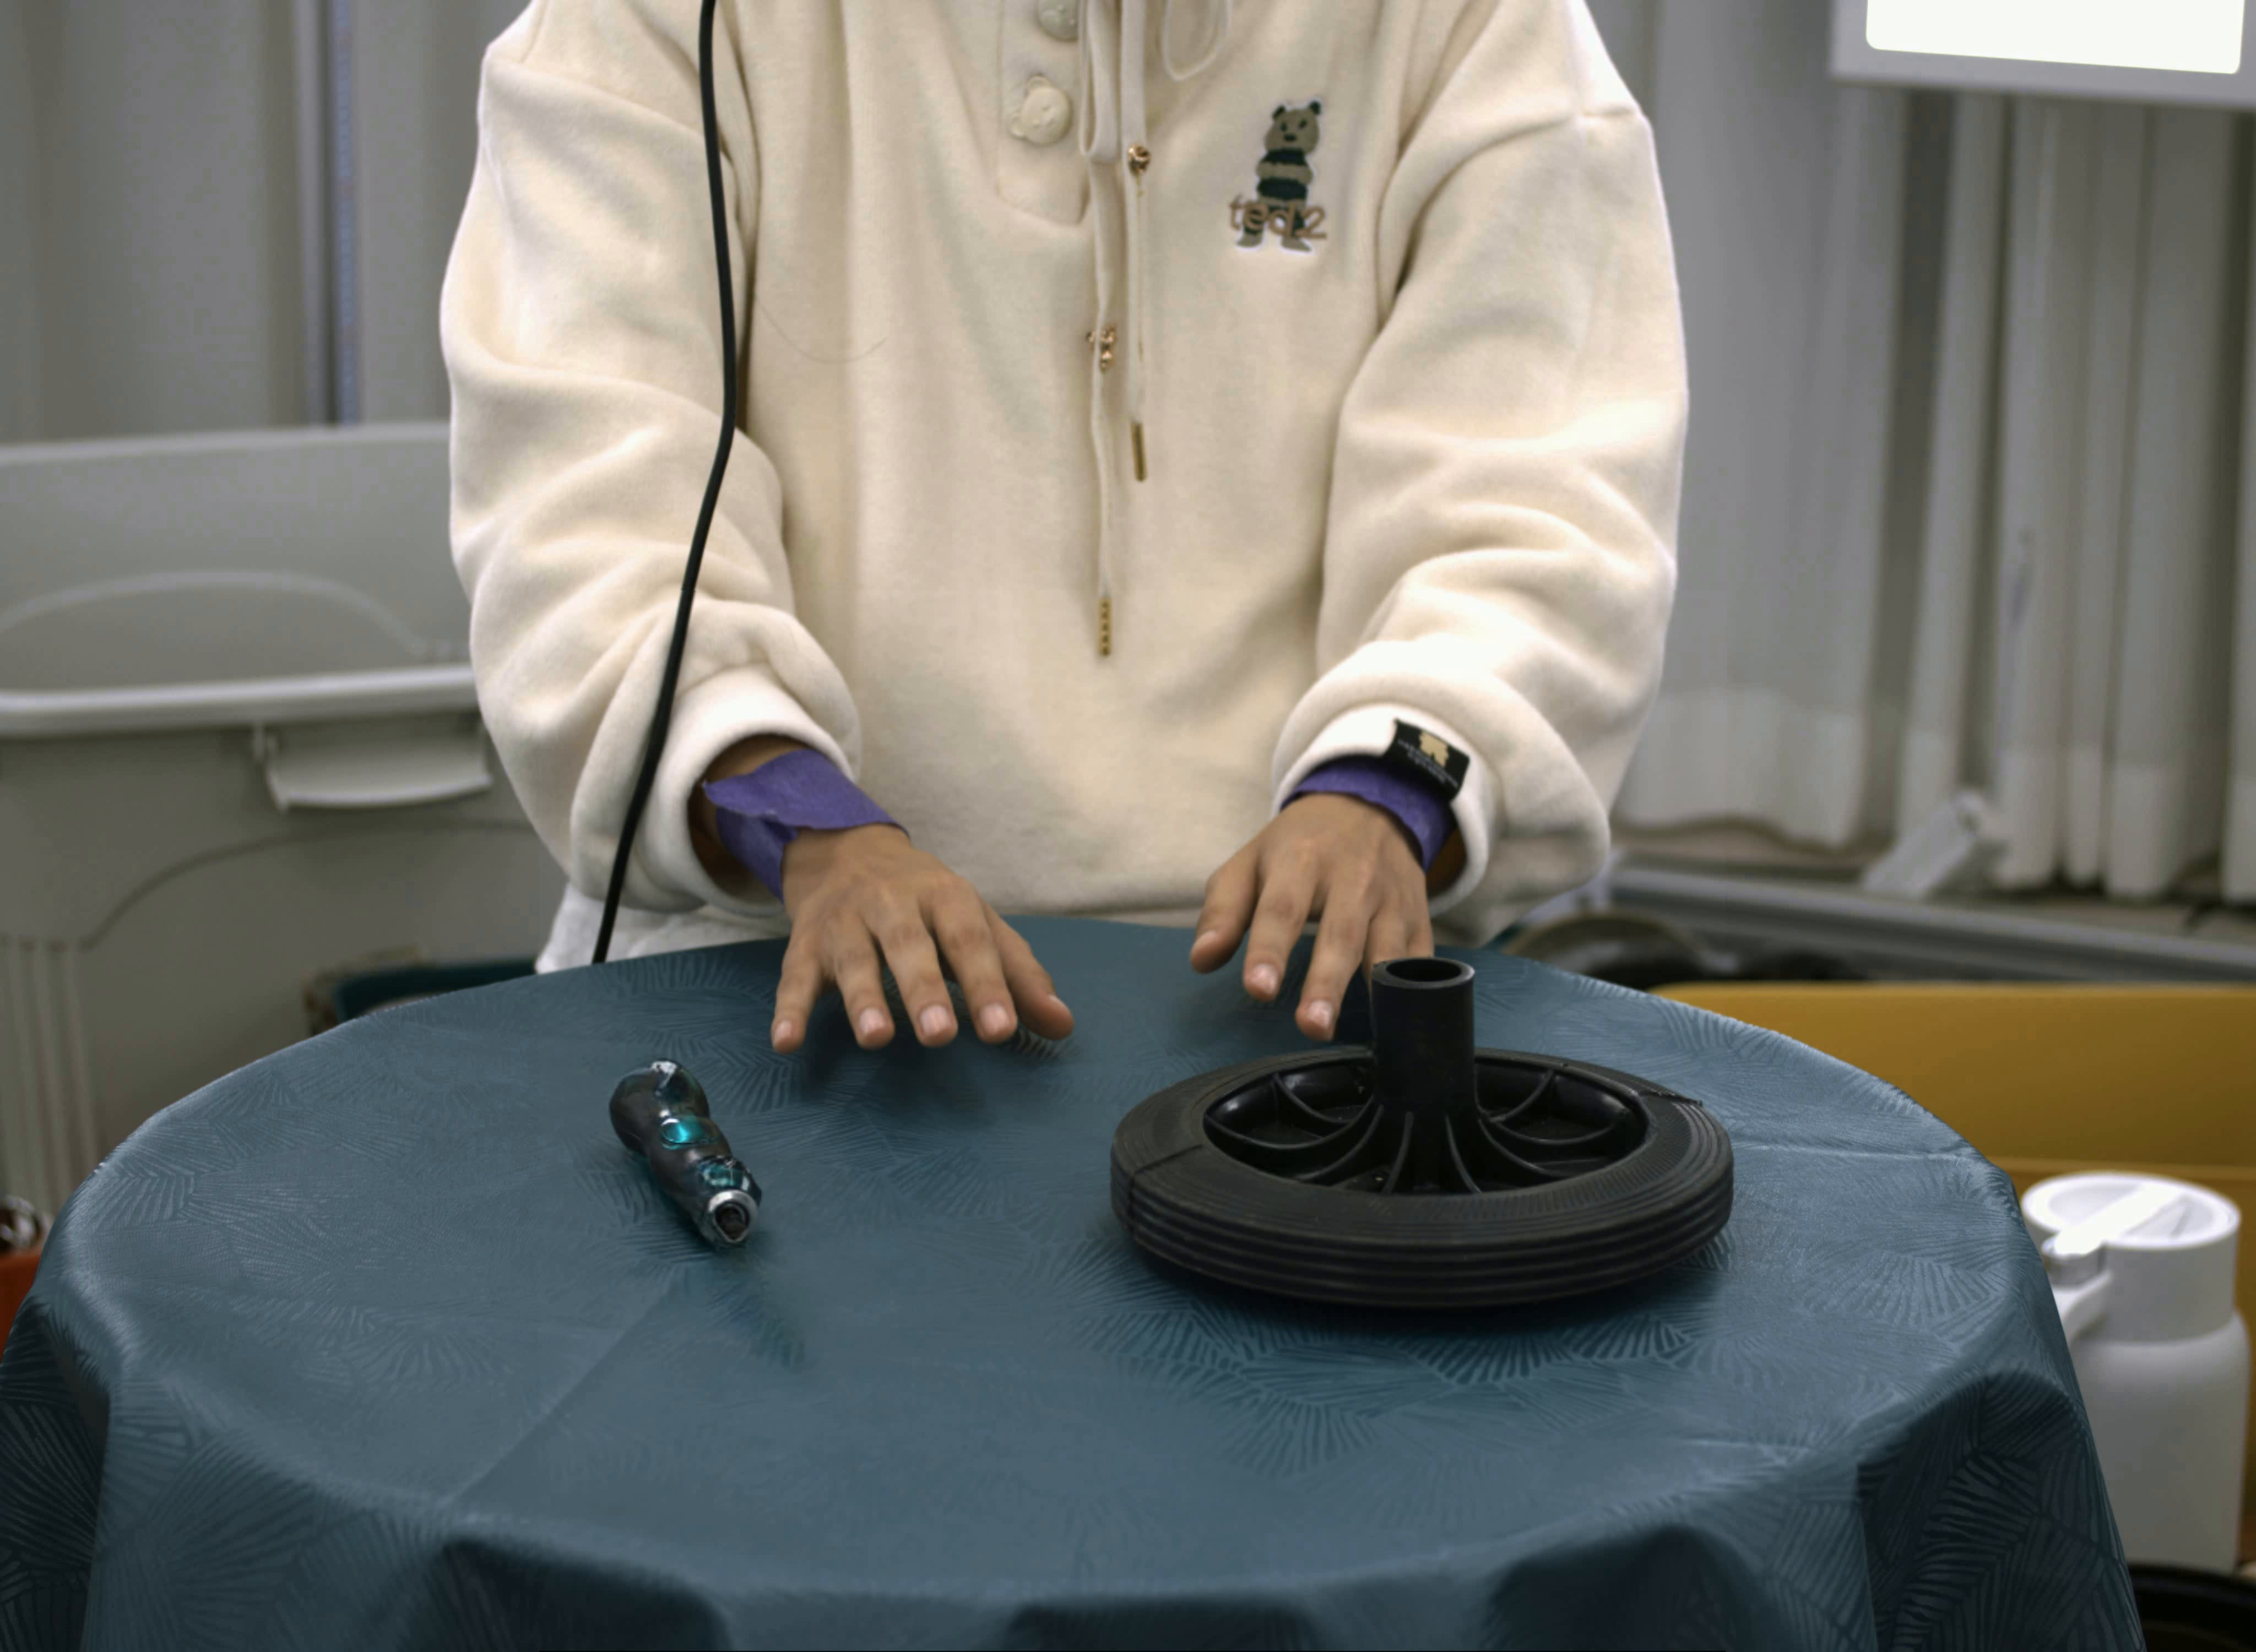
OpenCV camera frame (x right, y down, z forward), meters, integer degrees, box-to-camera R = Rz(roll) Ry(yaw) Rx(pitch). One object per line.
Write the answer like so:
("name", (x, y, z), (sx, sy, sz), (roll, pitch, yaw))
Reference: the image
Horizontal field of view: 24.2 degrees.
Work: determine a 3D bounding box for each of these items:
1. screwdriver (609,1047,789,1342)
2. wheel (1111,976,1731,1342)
("screwdriver", (-0.125, 0.113, 1.577), (0.034, 0.034, 0.188), (-4, 22, -17))
("wheel", (0.087, 0.087, 1.576), (0.186, 0.080, 0.189), (5, 21, 15))
